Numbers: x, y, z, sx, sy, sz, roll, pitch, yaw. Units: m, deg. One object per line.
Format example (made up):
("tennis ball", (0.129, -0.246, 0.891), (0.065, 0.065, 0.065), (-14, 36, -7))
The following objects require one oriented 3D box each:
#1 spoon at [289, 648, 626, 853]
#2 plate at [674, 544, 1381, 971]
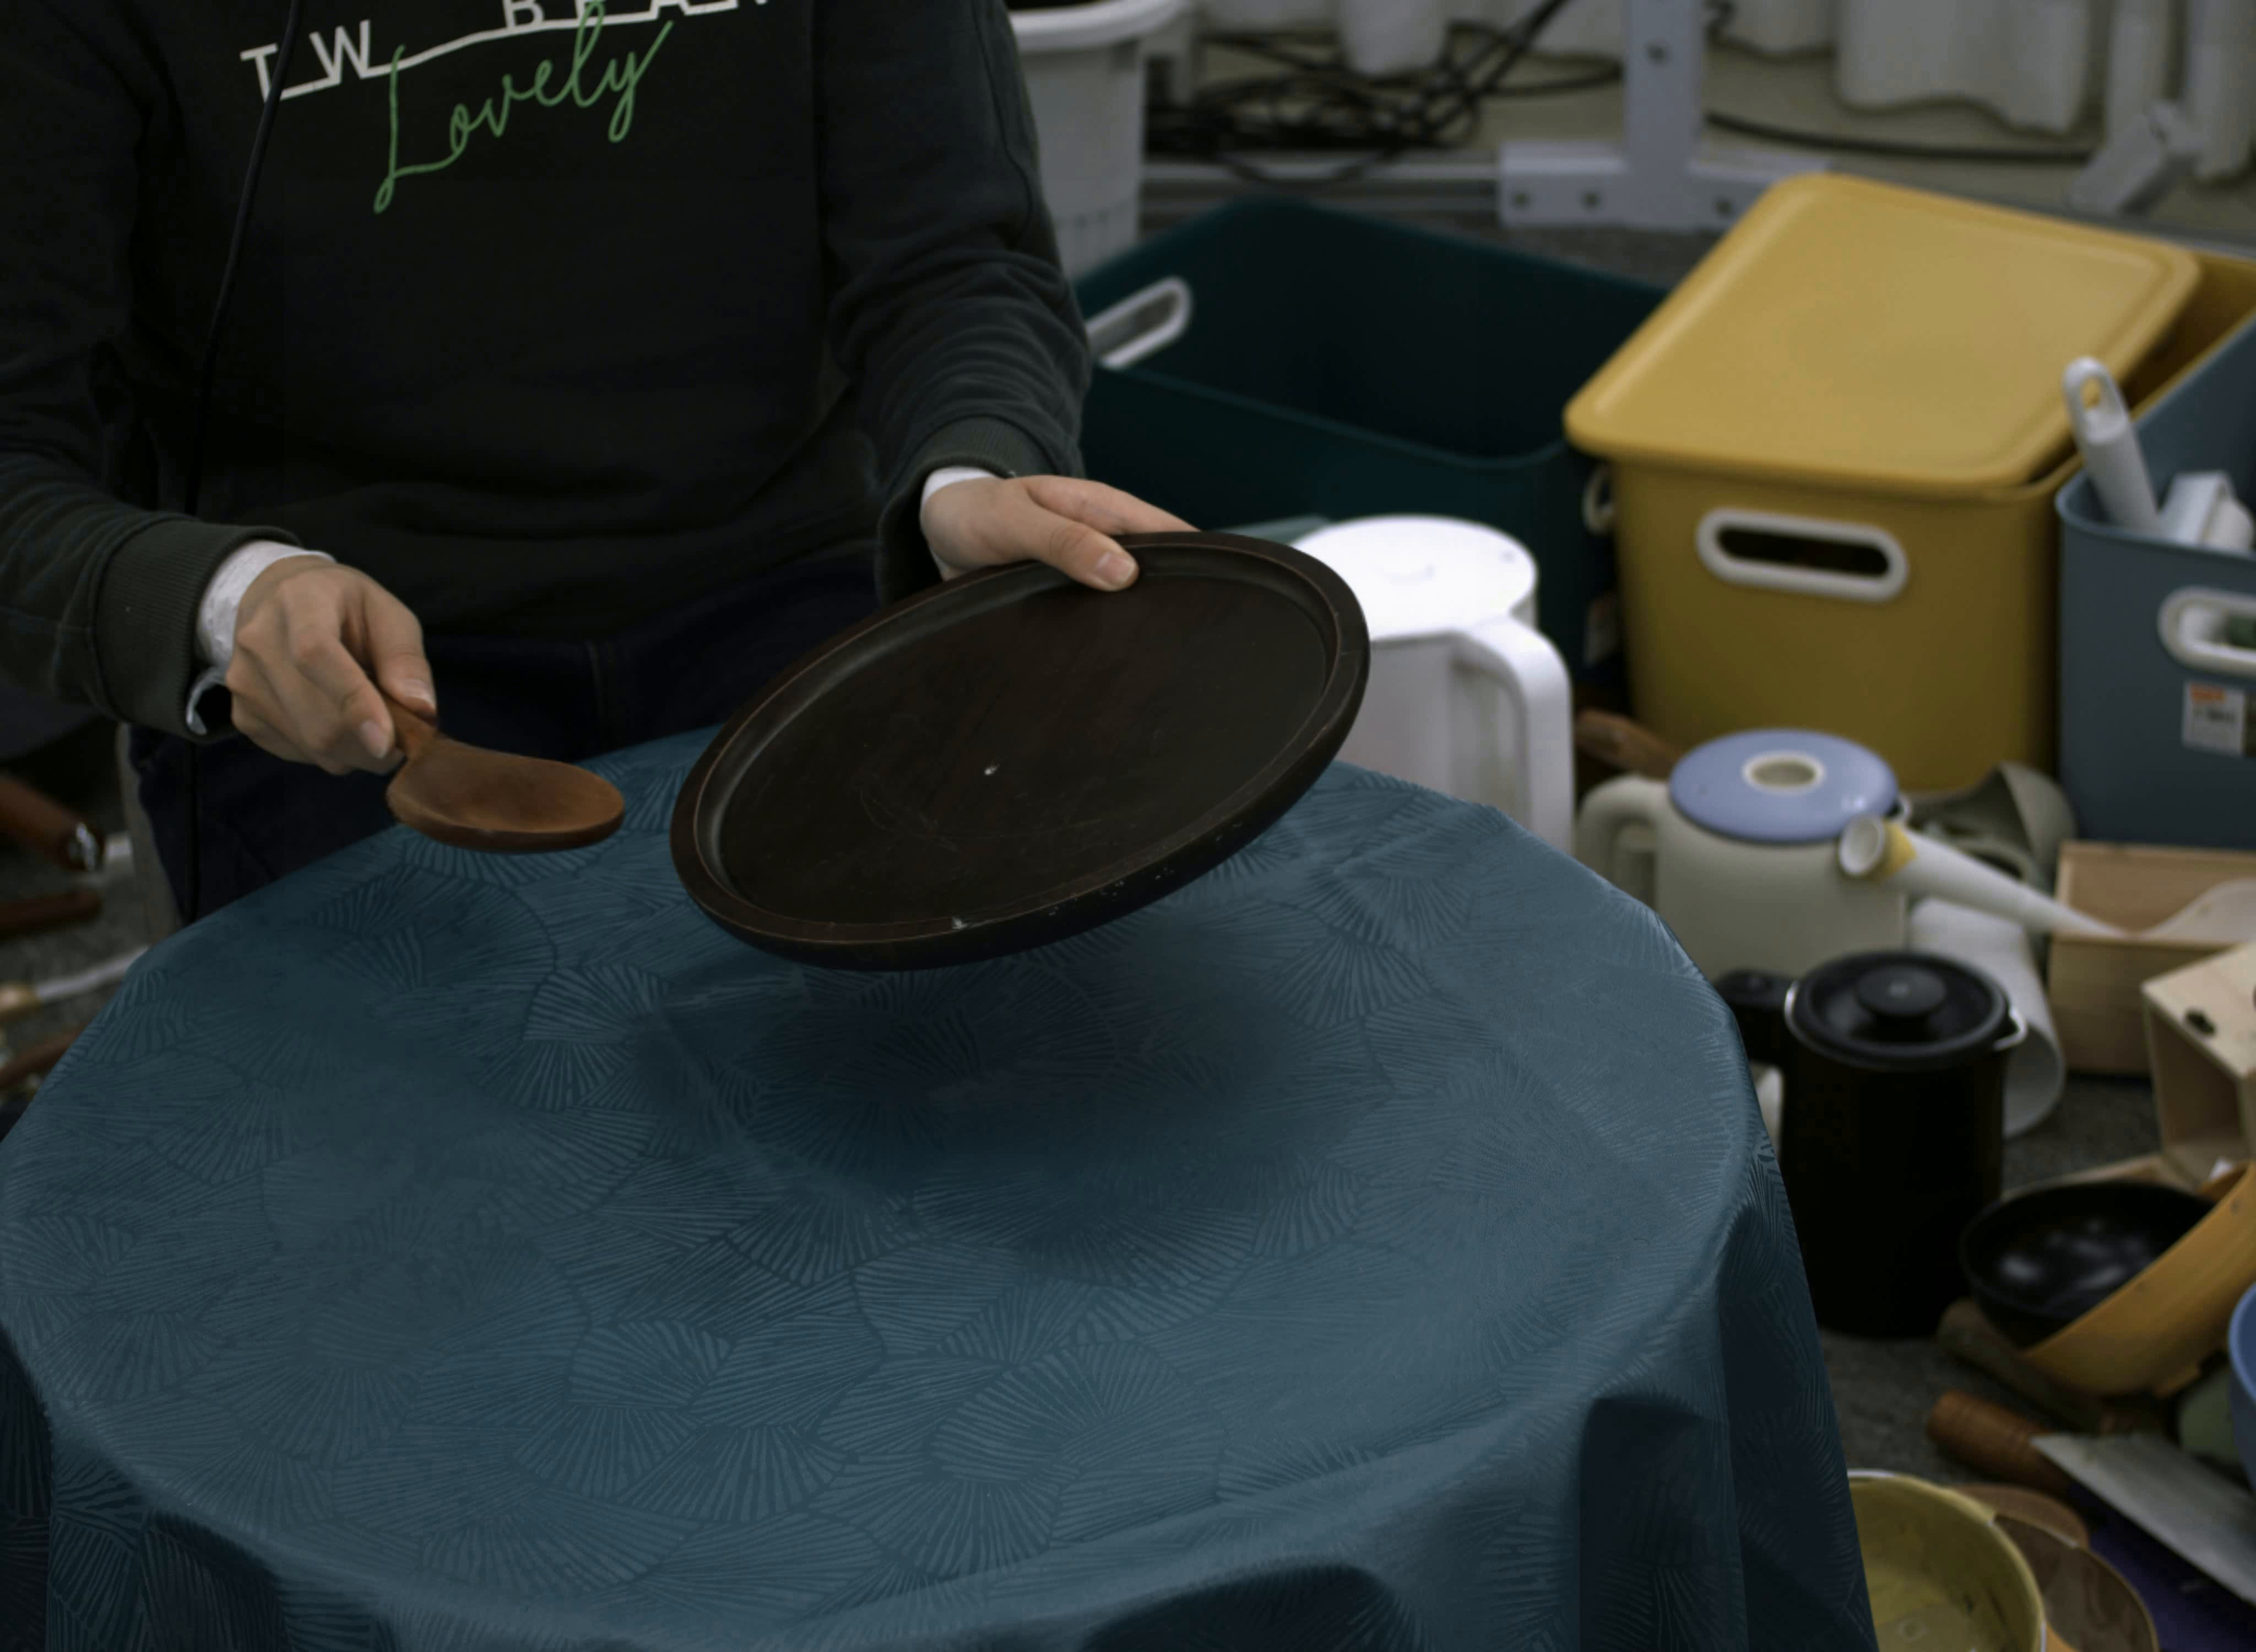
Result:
("spoon", (-0.236, -0.024, 1.906), (0.076, 0.017, 0.216), (-7, 21, -29))
("plate", (-0.034, -0.025, 1.931), (0.253, 0.029, 0.259), (-14, 29, 8))
